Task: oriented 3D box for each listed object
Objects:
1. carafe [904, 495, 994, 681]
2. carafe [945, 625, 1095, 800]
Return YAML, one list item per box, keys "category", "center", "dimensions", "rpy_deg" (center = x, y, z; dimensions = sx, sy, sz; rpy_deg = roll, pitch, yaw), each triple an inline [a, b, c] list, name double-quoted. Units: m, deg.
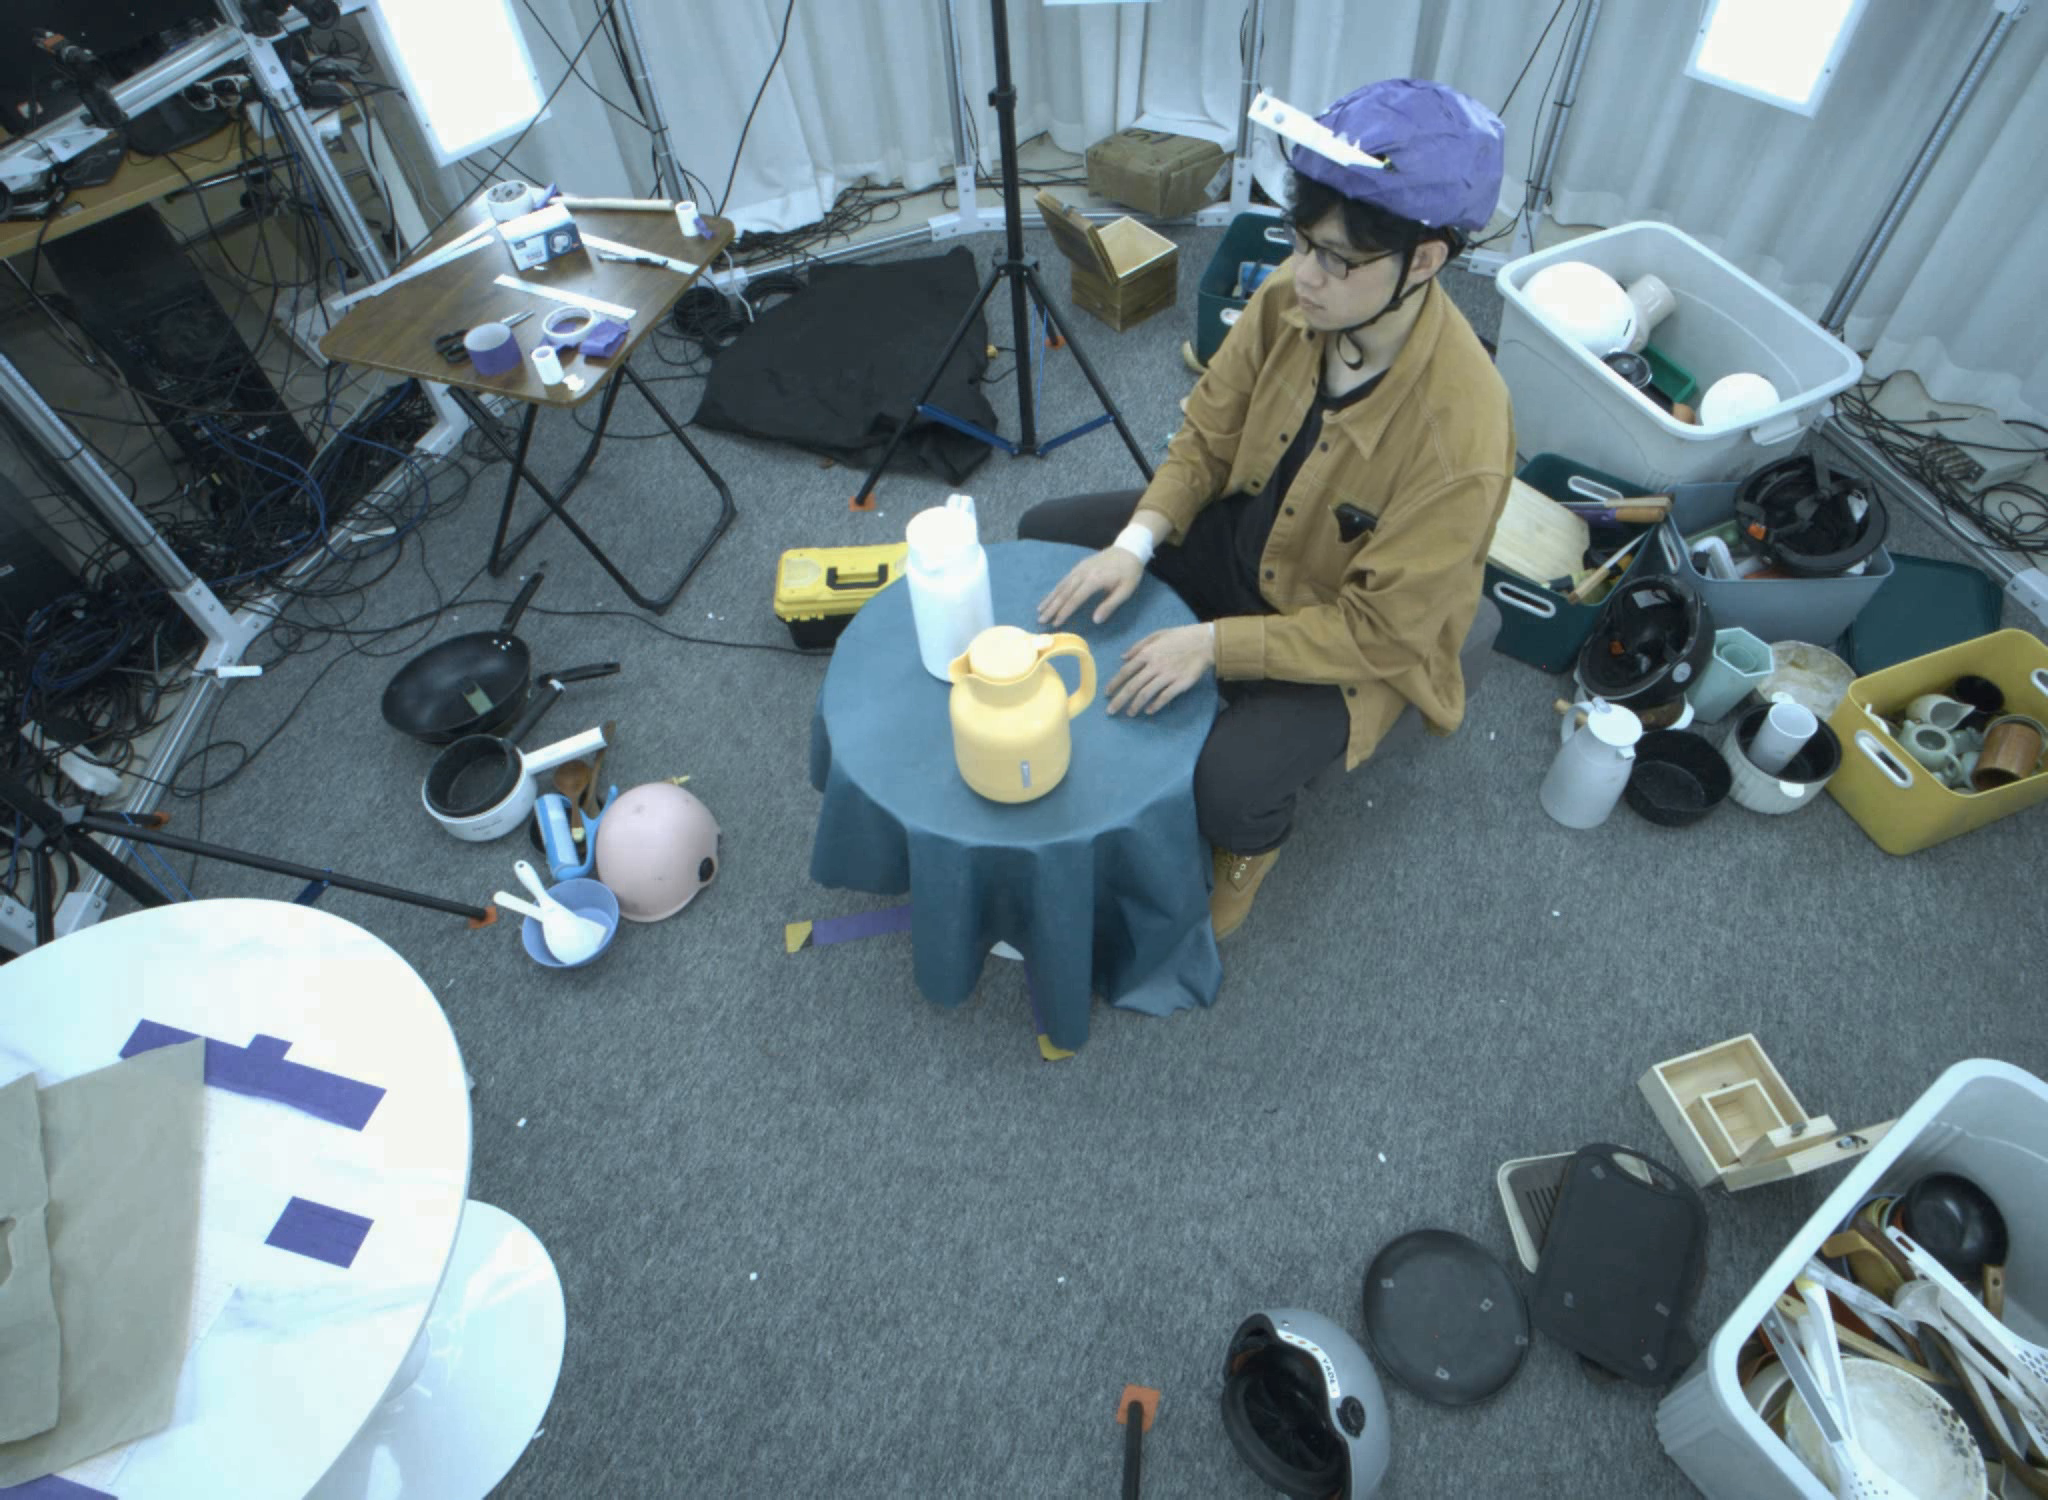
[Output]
- category: "carafe"
  center: [-0.106, -0.239, 1.792]
  dimensions: [0.123, 0.272, 0.172]
  rpy_deg: [8, 55, 11]
- category: "carafe"
  center: [-0.002, -0.060, 1.663]
  dimensions: [0.203, 0.263, 0.161]
  rpy_deg: [-15, 58, -5]
